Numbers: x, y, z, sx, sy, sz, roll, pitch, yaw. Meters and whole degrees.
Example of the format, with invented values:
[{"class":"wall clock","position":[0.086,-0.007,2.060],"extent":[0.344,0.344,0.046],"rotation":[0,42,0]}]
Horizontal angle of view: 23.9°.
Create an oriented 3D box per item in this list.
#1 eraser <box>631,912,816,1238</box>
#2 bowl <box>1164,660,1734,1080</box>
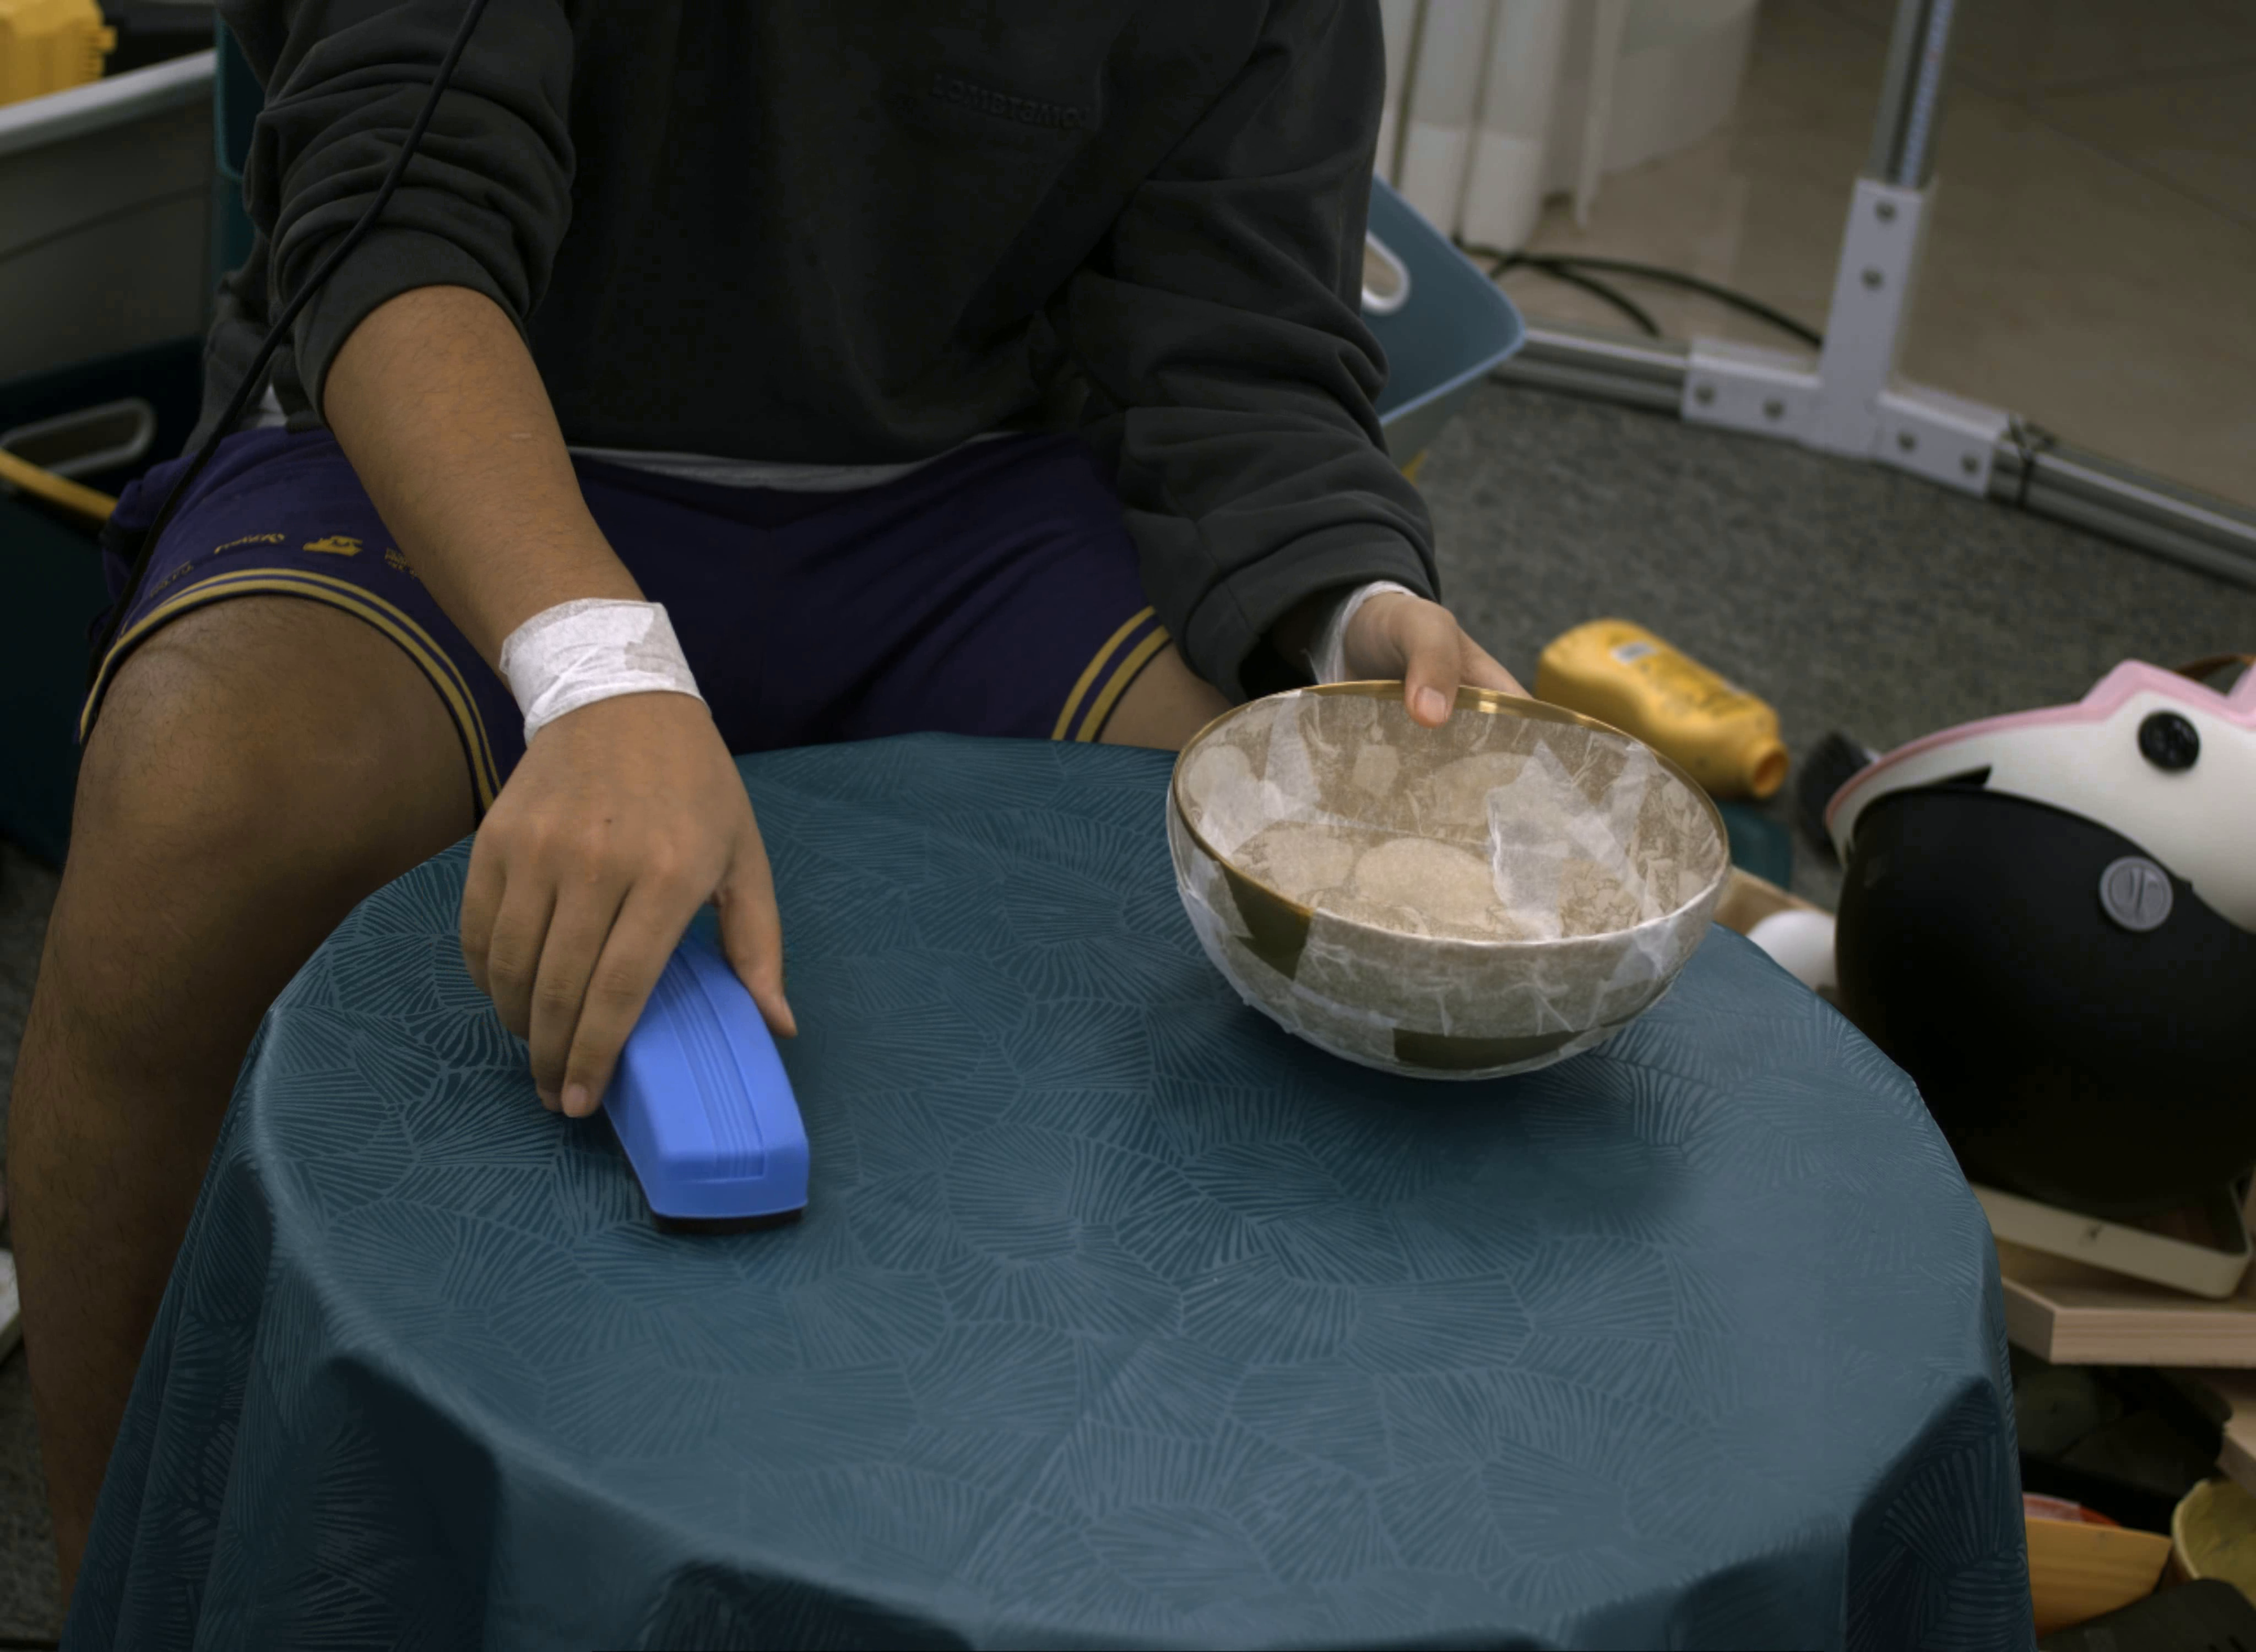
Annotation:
[{"class":"eraser","position":[-0.138,0.078,1.805],"extent":[0.053,0.047,0.163],"rotation":[-3,29,-7]},{"class":"bowl","position":[0.111,0.029,1.908],"extent":[0.214,0.094,0.216],"rotation":[4,28,-2]}]
